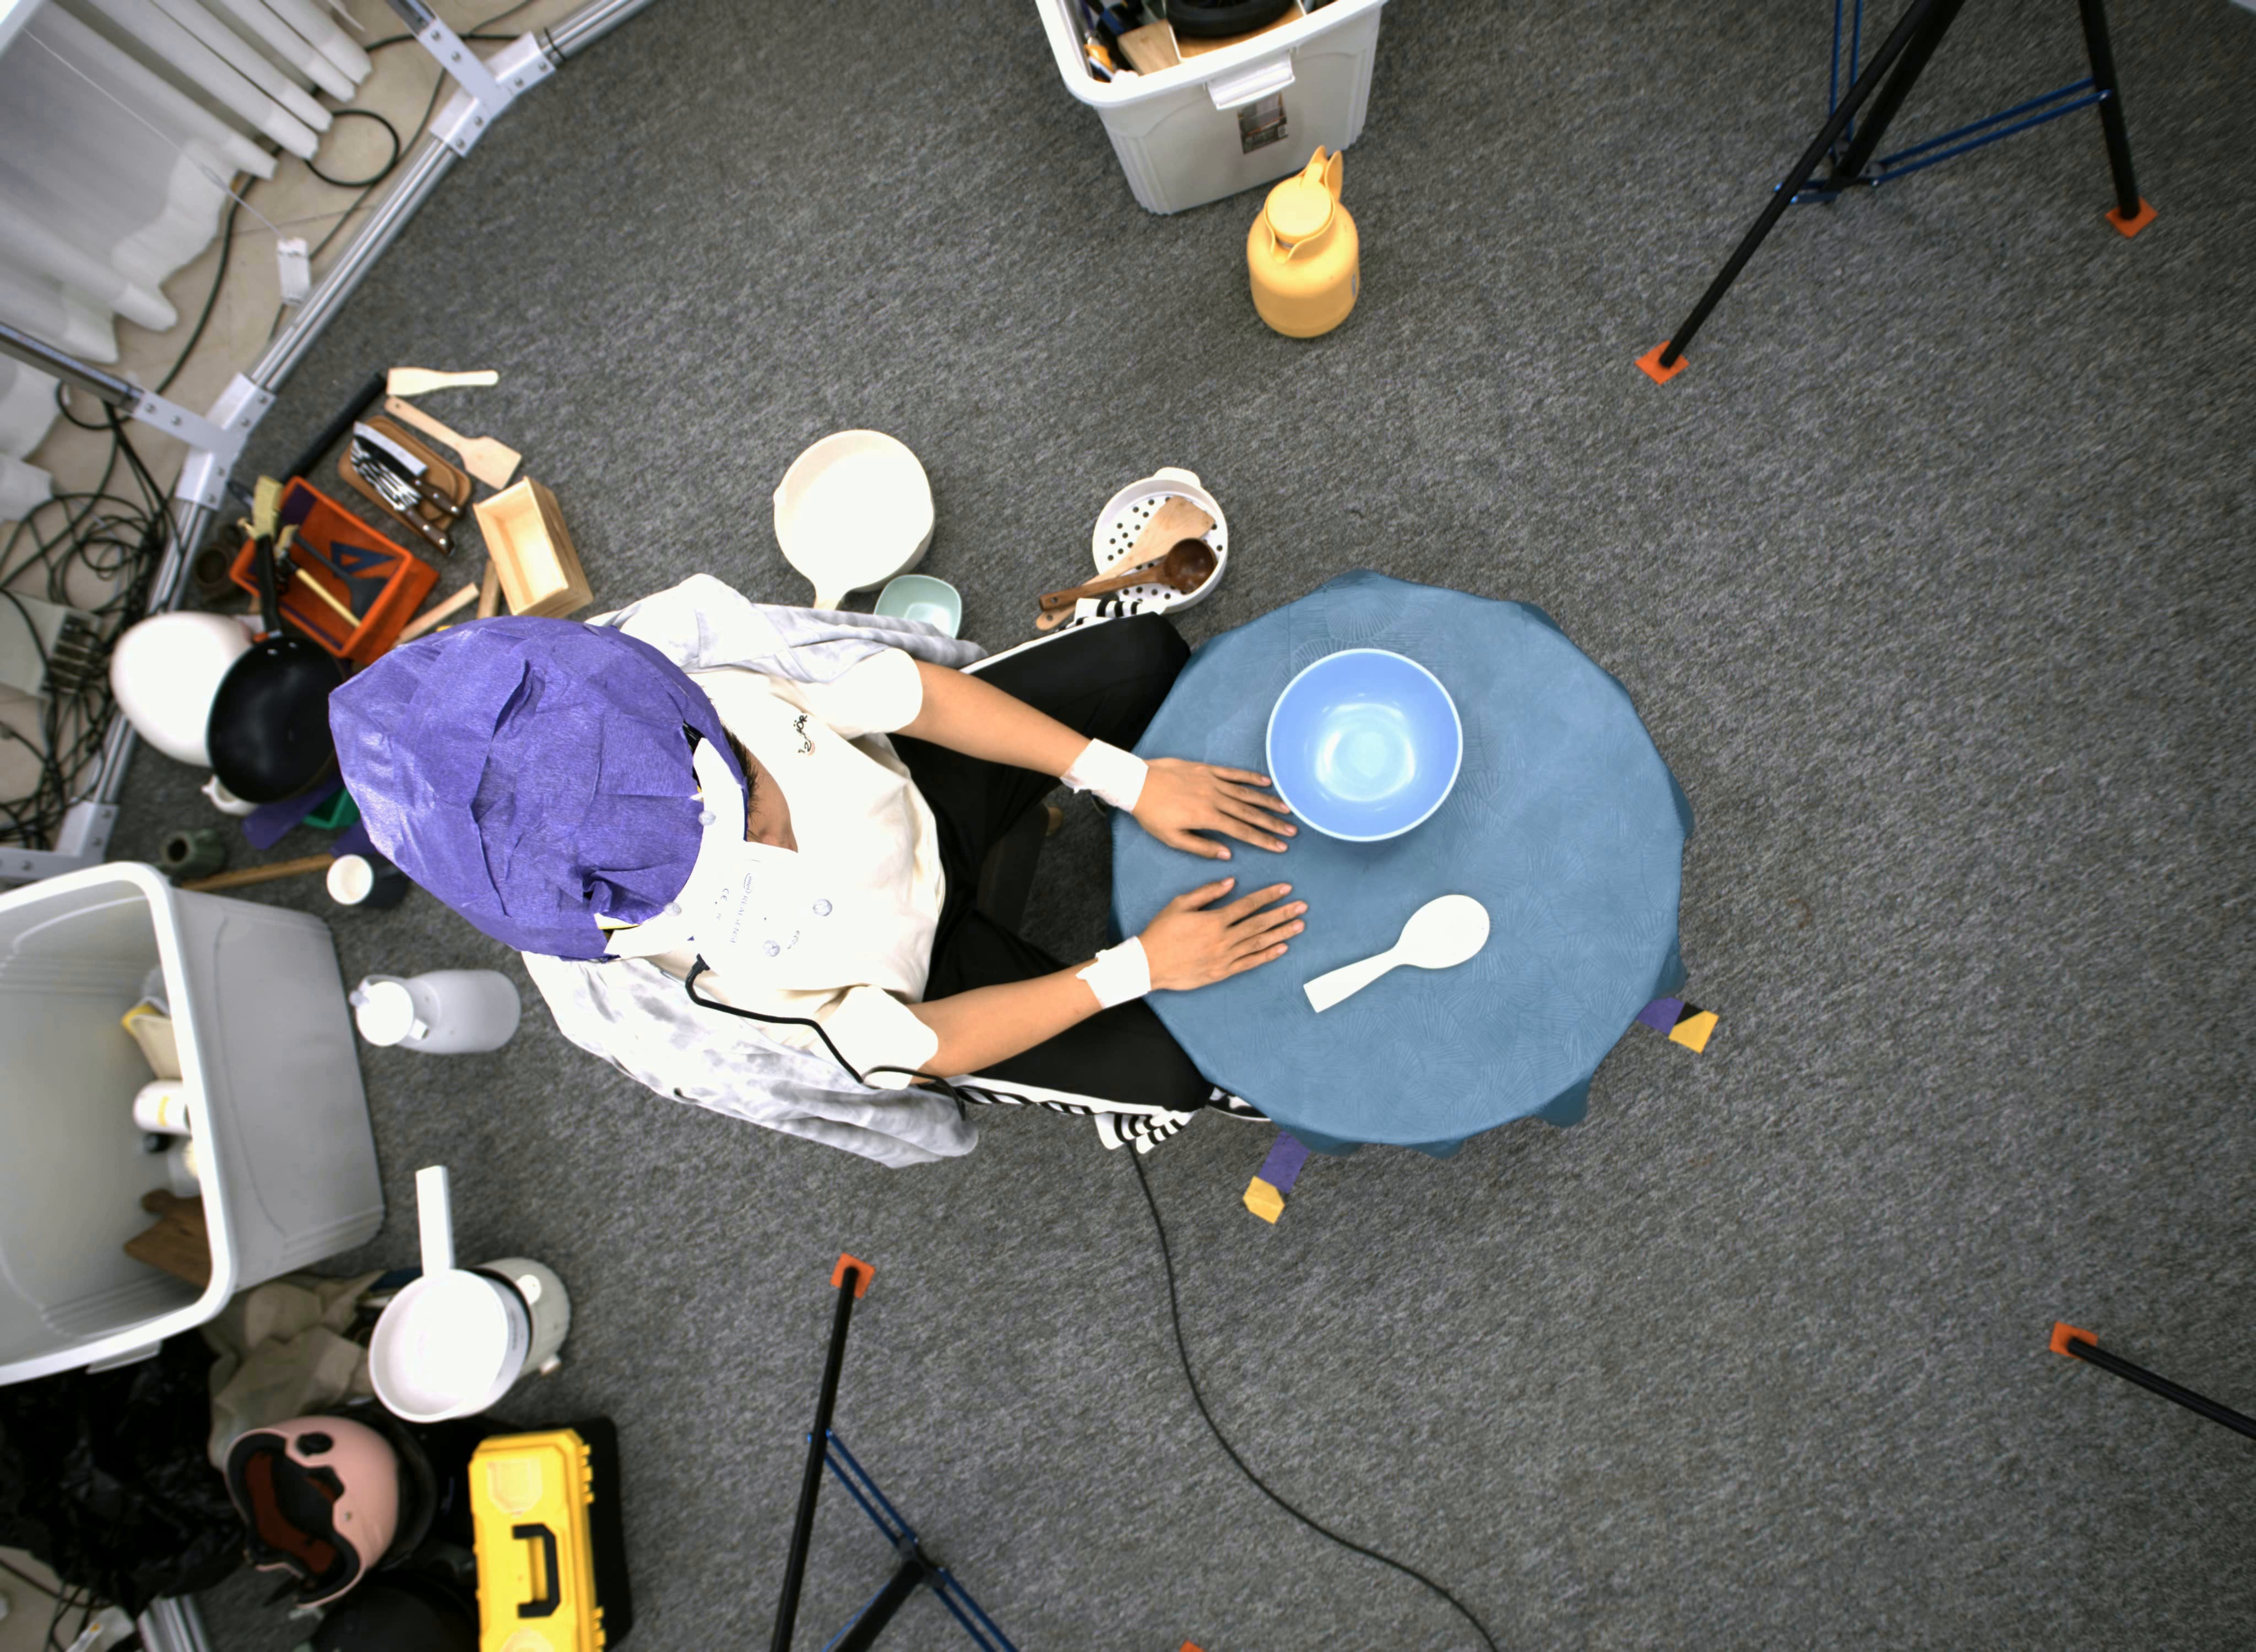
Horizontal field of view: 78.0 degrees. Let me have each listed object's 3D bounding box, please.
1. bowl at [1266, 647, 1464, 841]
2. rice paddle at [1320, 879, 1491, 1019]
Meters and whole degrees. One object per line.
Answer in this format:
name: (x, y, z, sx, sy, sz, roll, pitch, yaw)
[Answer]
bowl: (0.243, -0.080, 1.422, 0.197, 0.095, 0.196, -1, 87, 9)
rice paddle: (0.290, 0.127, 1.441, 0.207, 0.029, 0.068, -38, 68, 10)
